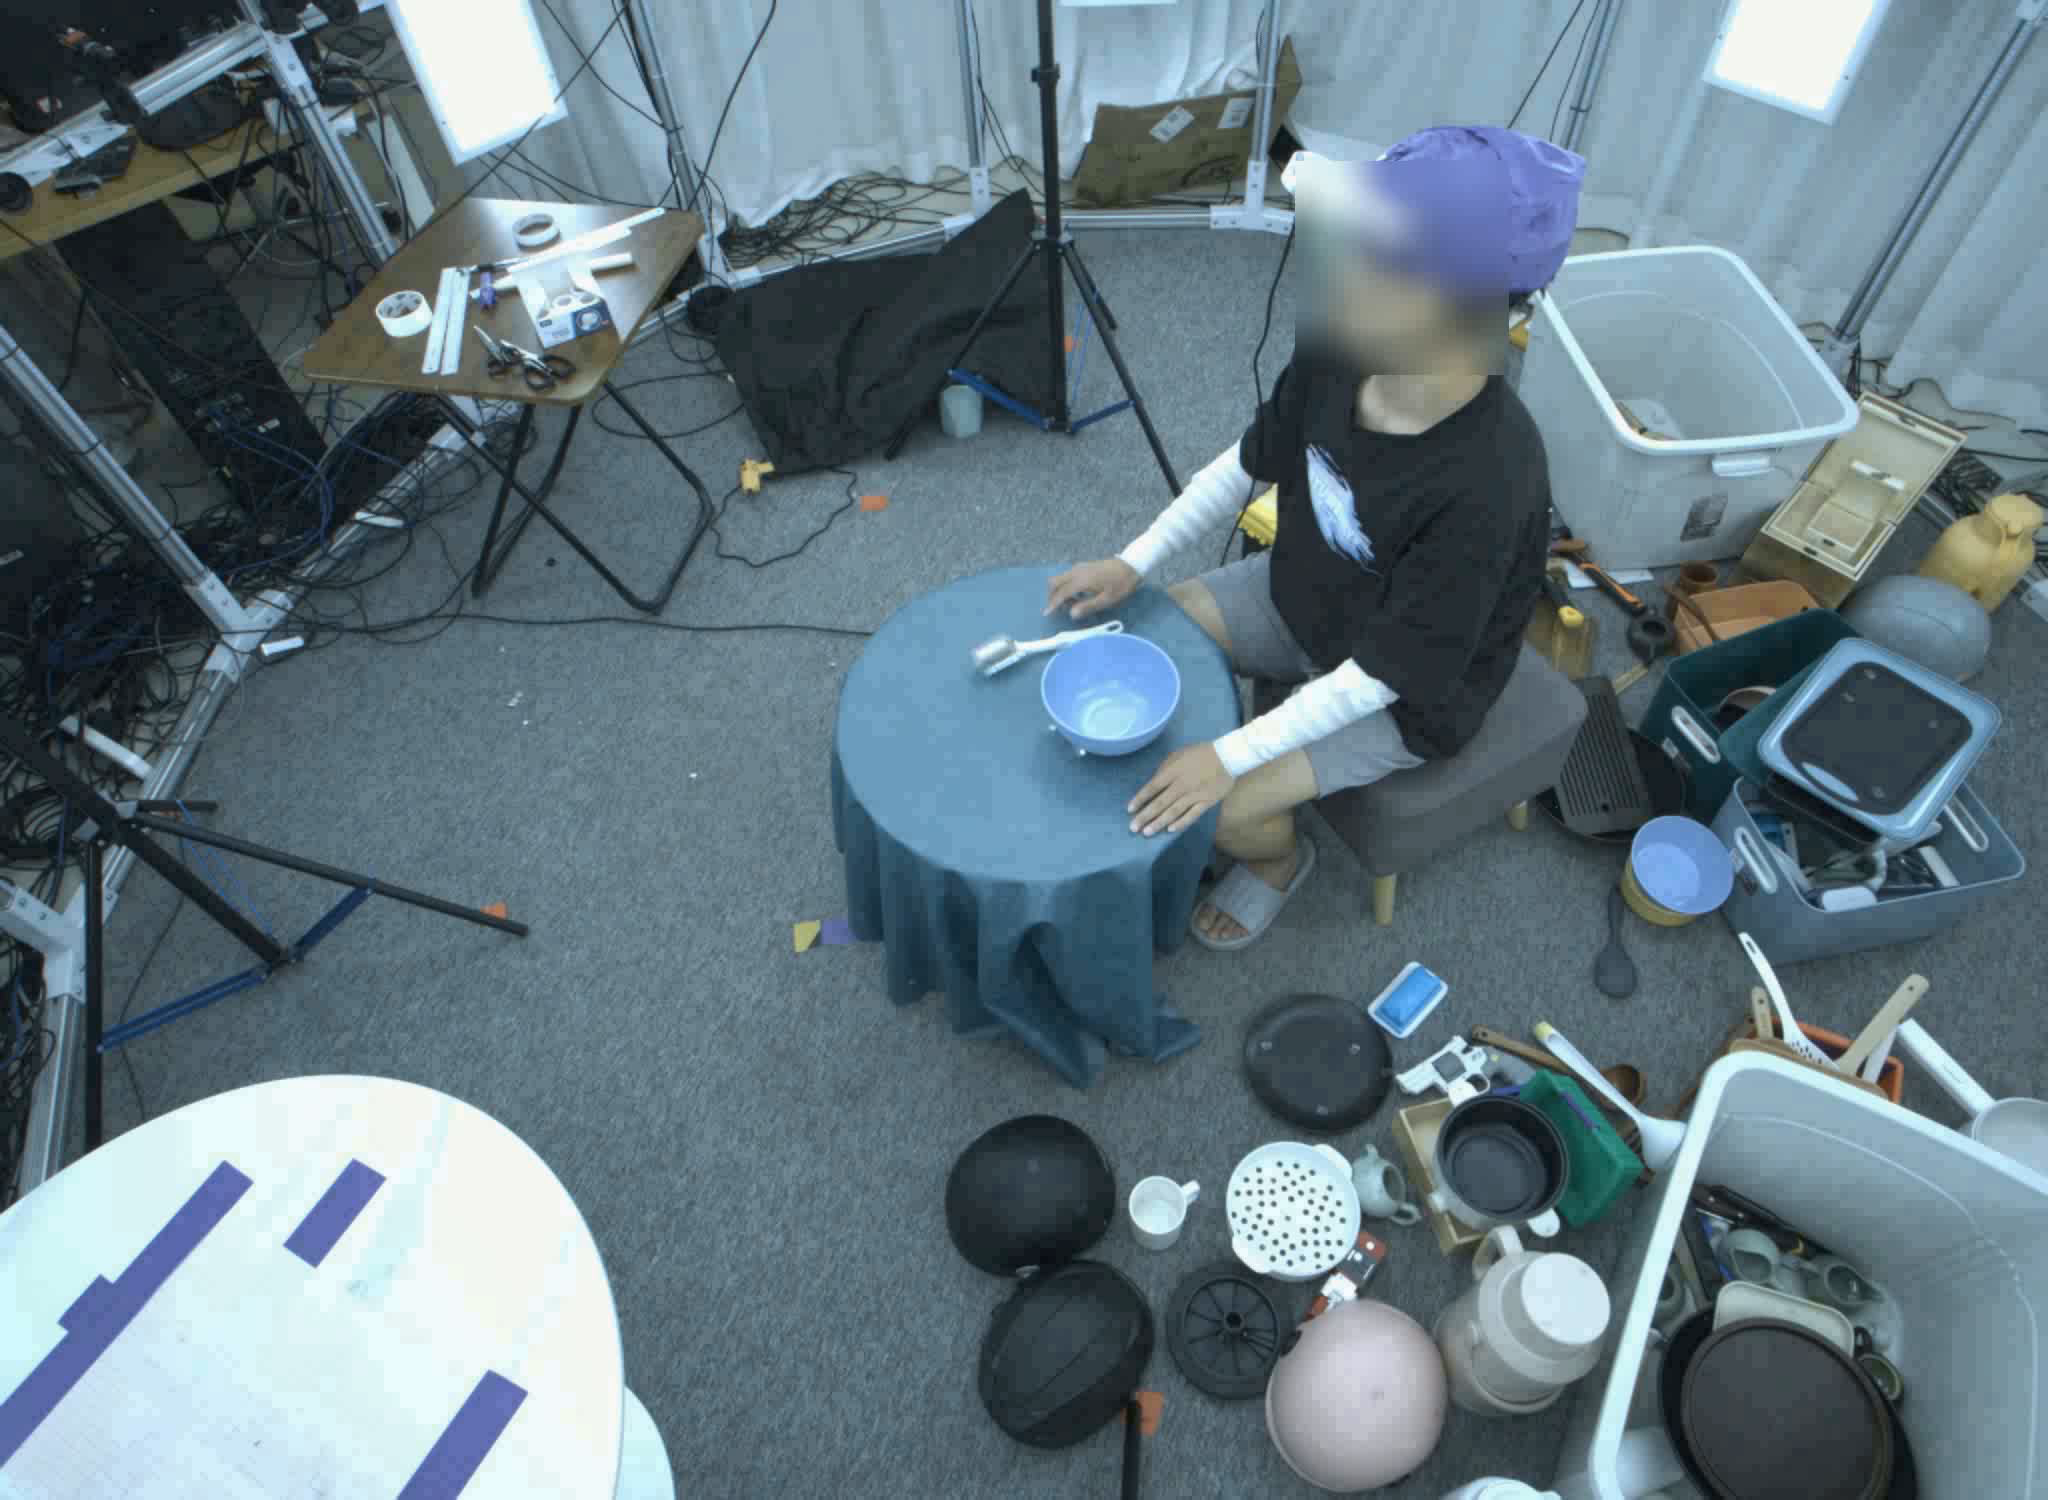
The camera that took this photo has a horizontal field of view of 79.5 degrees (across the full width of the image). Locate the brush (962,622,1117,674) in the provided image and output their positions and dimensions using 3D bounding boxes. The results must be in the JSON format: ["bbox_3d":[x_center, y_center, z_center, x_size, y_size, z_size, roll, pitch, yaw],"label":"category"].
[{"bbox_3d":[0.025,-0.170,1.868,0.245,0.051,0.034,-16,52,-9],"label":"brush"}]

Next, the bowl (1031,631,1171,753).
[{"bbox_3d":[0.111,-0.068,1.763,0.196,0.096,0.194,-1,54,3],"label":"bowl"}]
